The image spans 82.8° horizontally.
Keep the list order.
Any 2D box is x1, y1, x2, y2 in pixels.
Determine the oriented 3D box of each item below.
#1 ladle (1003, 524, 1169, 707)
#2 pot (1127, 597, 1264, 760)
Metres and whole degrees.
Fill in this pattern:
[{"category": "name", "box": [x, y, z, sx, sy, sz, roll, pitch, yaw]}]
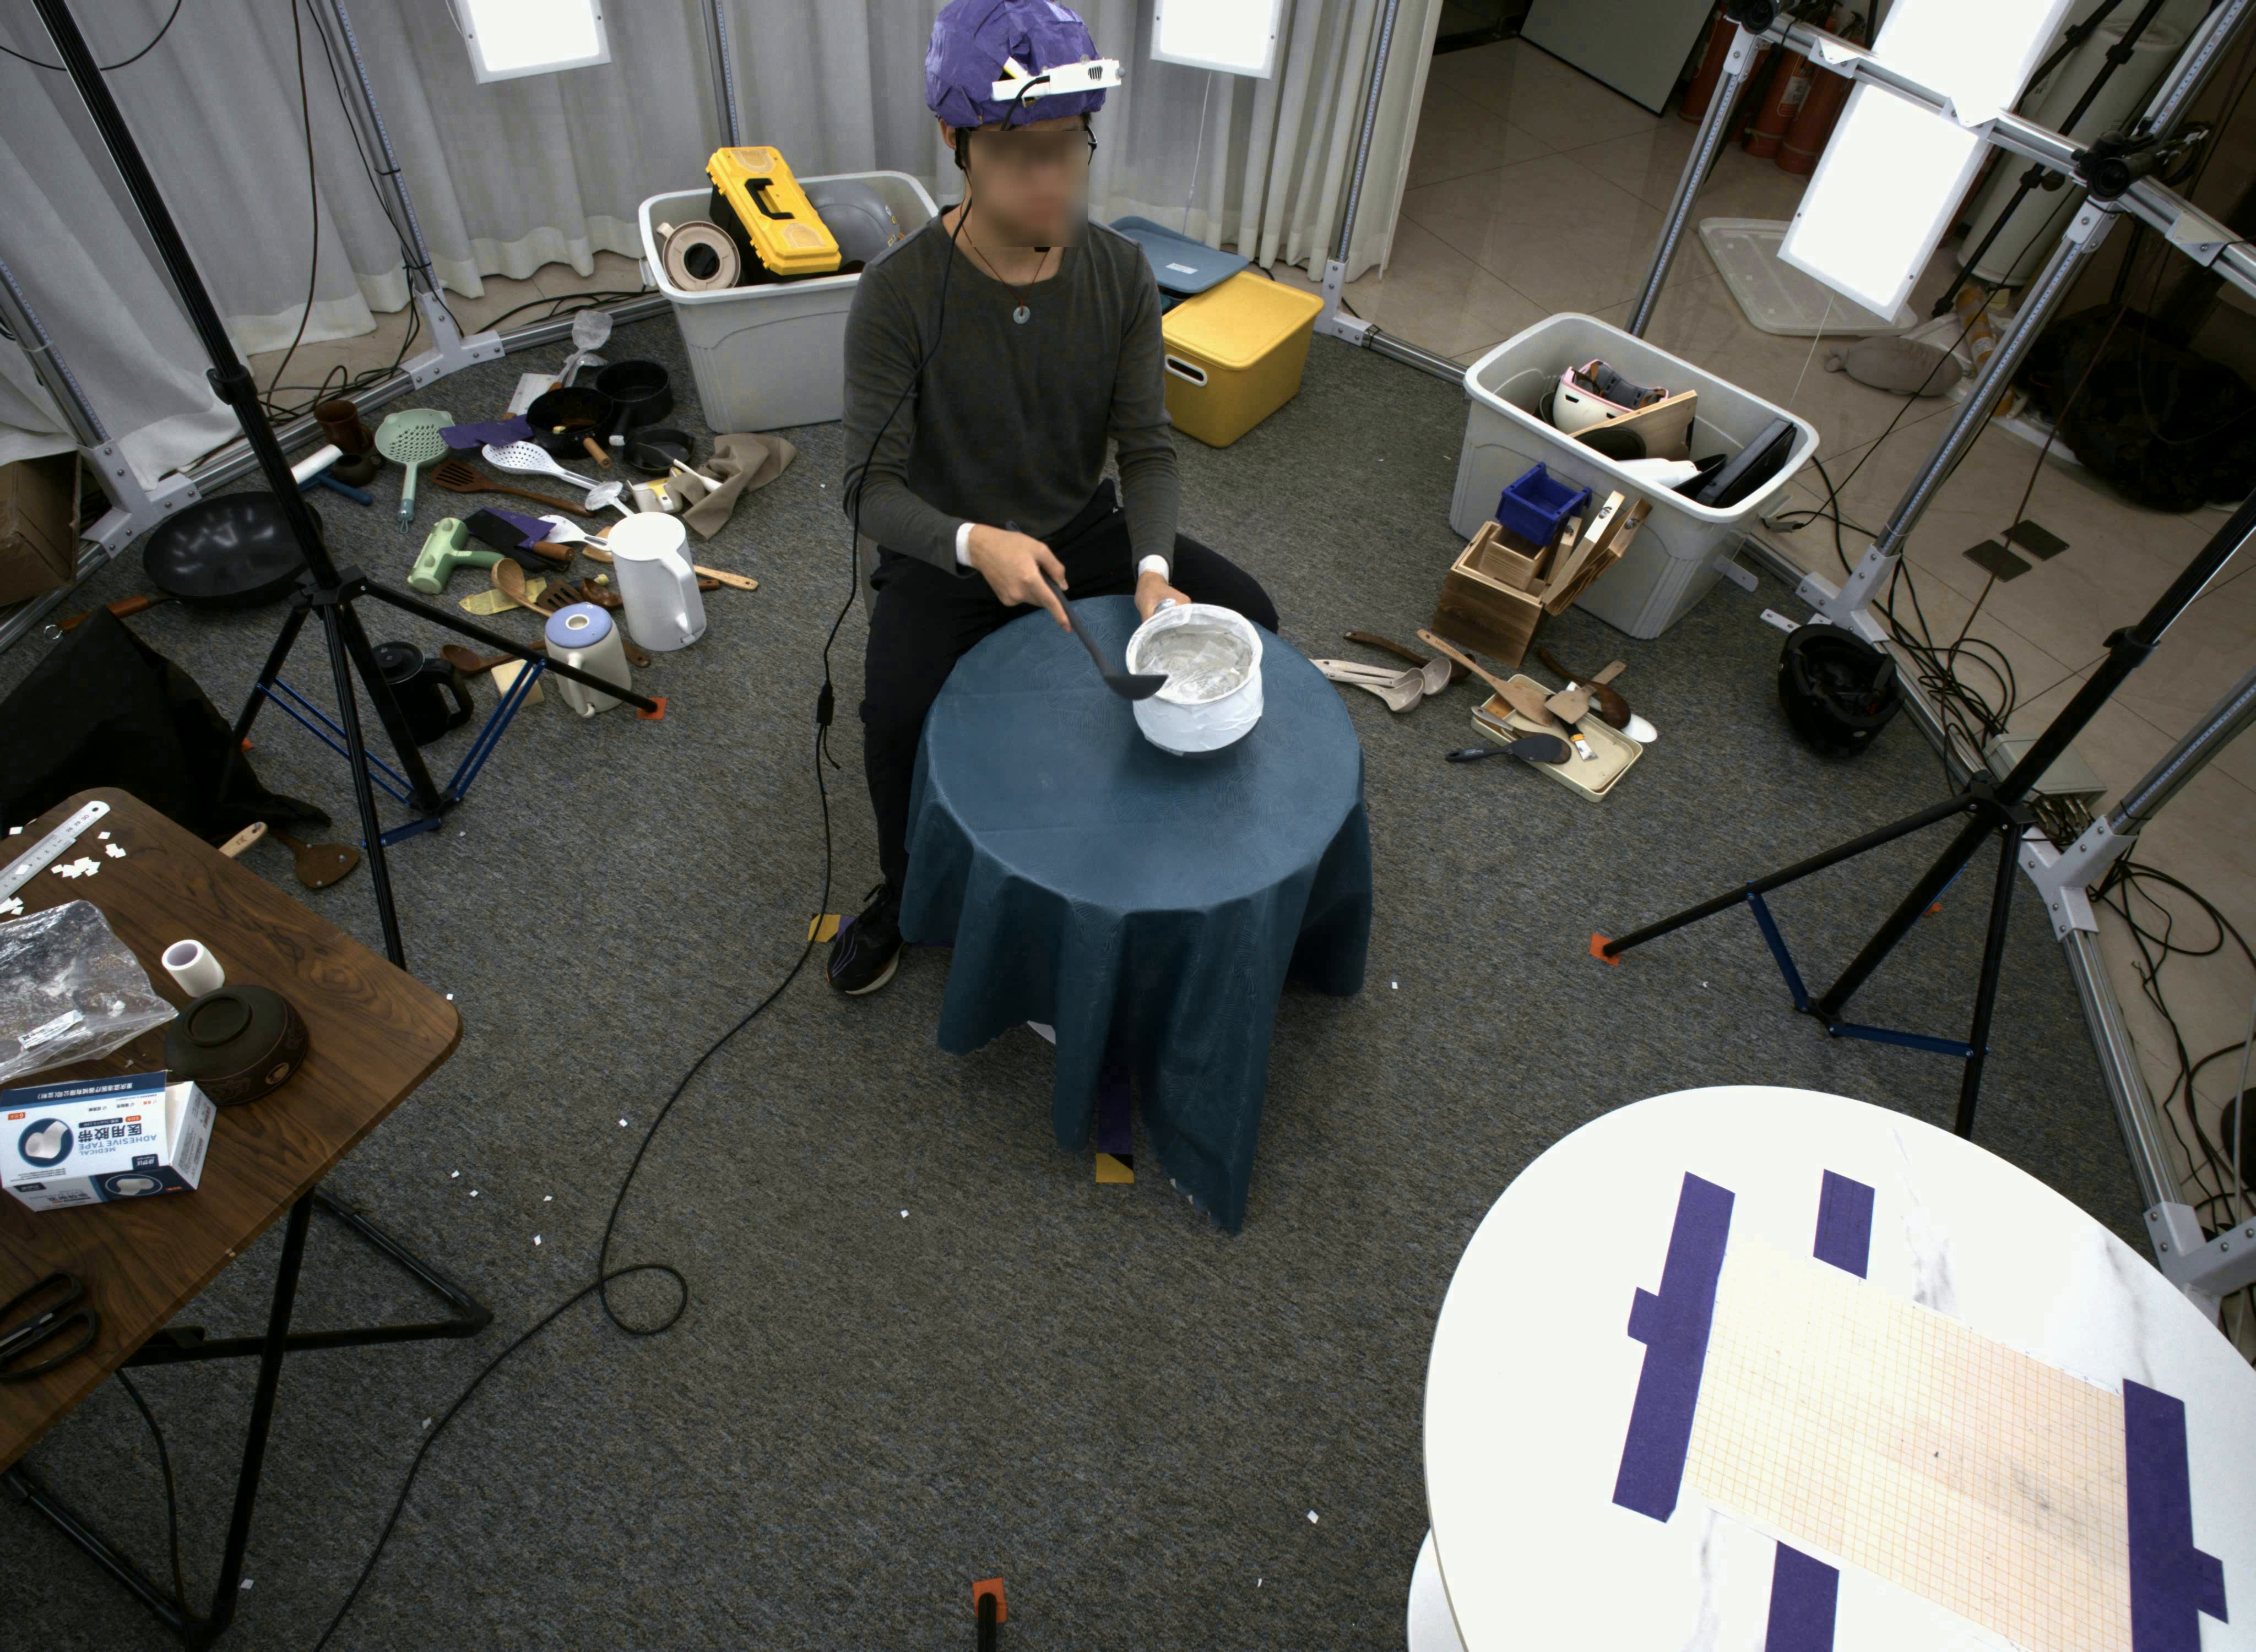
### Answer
[{"category": "ladle", "box": [-0.061, -0.276, 1.614, 0.086, 0.063, 0.318, -5, 58, -56]}, {"category": "pot", "box": [0.082, -0.209, 1.721, 0.179, 0.133, 0.239, -18, 54, -7]}]
